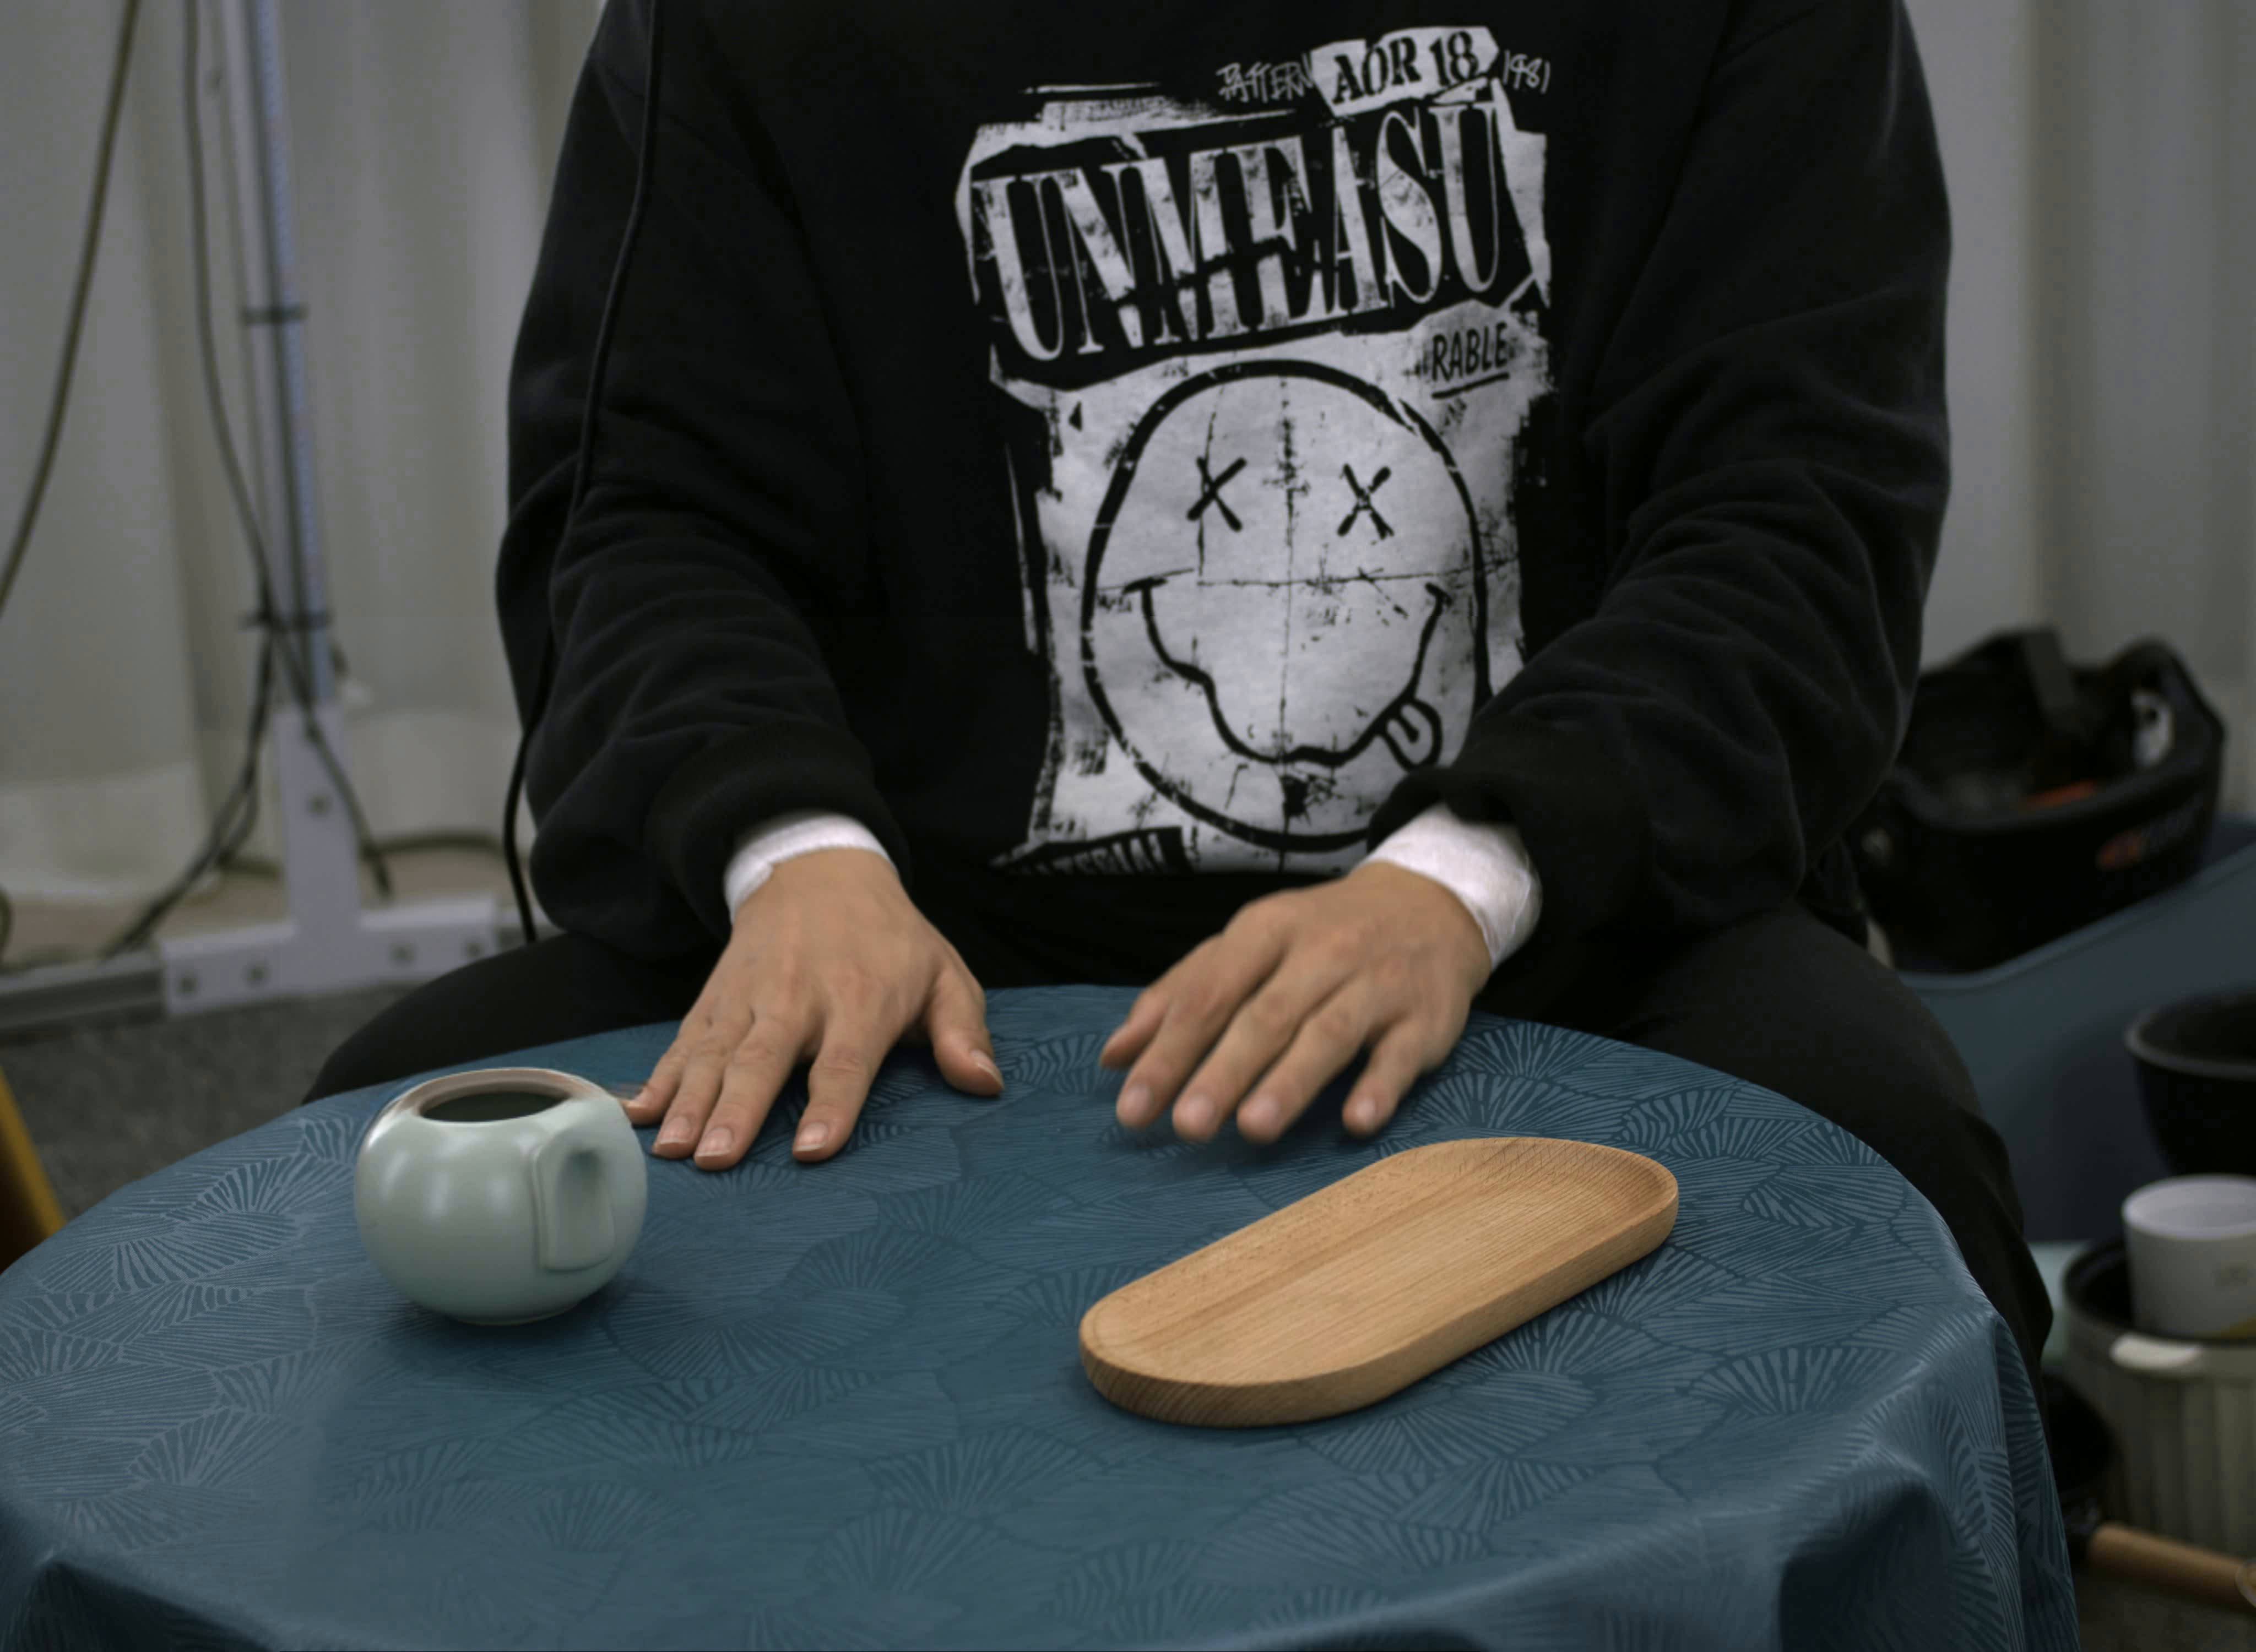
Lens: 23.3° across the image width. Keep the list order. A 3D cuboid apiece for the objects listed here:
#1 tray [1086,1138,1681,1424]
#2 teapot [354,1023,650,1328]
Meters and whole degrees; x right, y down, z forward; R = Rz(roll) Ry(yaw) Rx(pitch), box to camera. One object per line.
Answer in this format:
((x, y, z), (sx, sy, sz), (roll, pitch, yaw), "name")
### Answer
((0.077, 0.132, 1.605), (0.102, 0.020, 0.231), (10, 18, 36), "tray")
((-0.187, 0.108, 1.634), (0.088, 0.074, 0.145), (-11, 18, -31), "teapot")
